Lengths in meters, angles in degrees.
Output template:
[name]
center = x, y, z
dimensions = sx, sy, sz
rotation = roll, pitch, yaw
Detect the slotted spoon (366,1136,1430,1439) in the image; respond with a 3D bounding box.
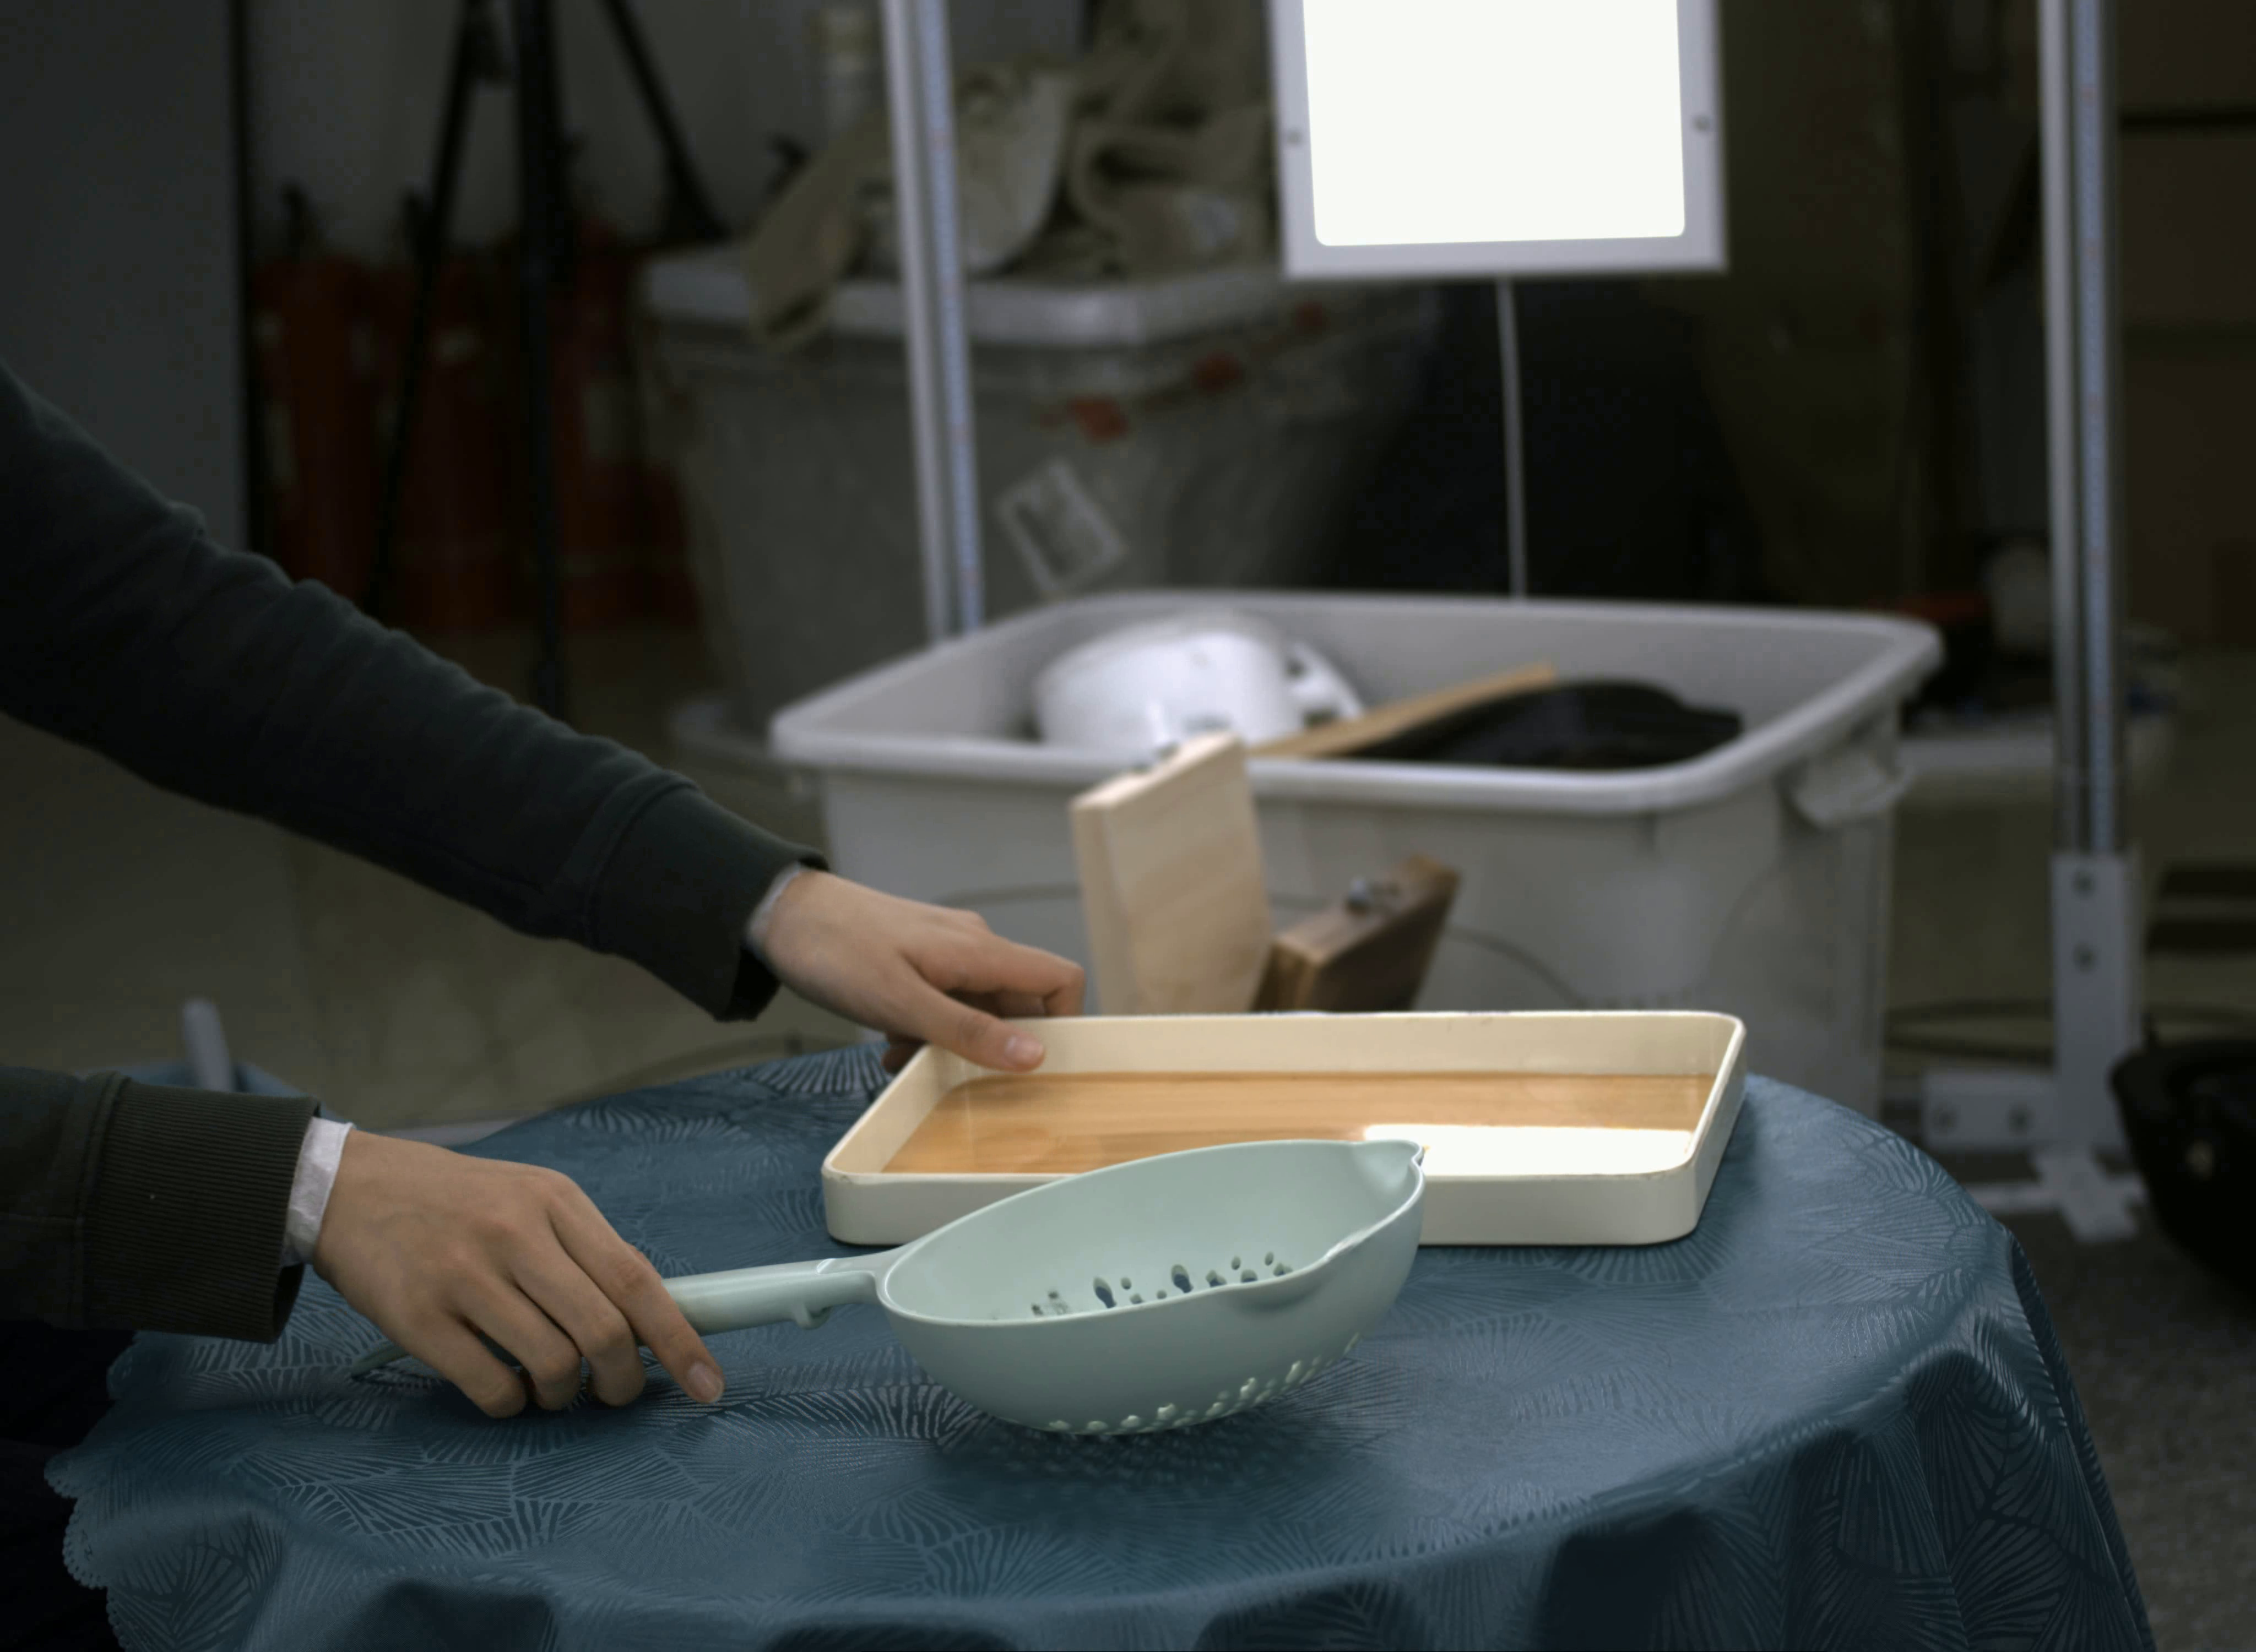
[slotted spoon]
center = -0.079, 0.146, 1.710
dimensions = 0.364, 0.075, 0.166
rotation = 1, 14, 21

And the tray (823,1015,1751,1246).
[tray]
center = 0.059, 0.105, 1.911
dimensions = 0.303, 0.027, 0.189
rotation = -1, 14, 15
